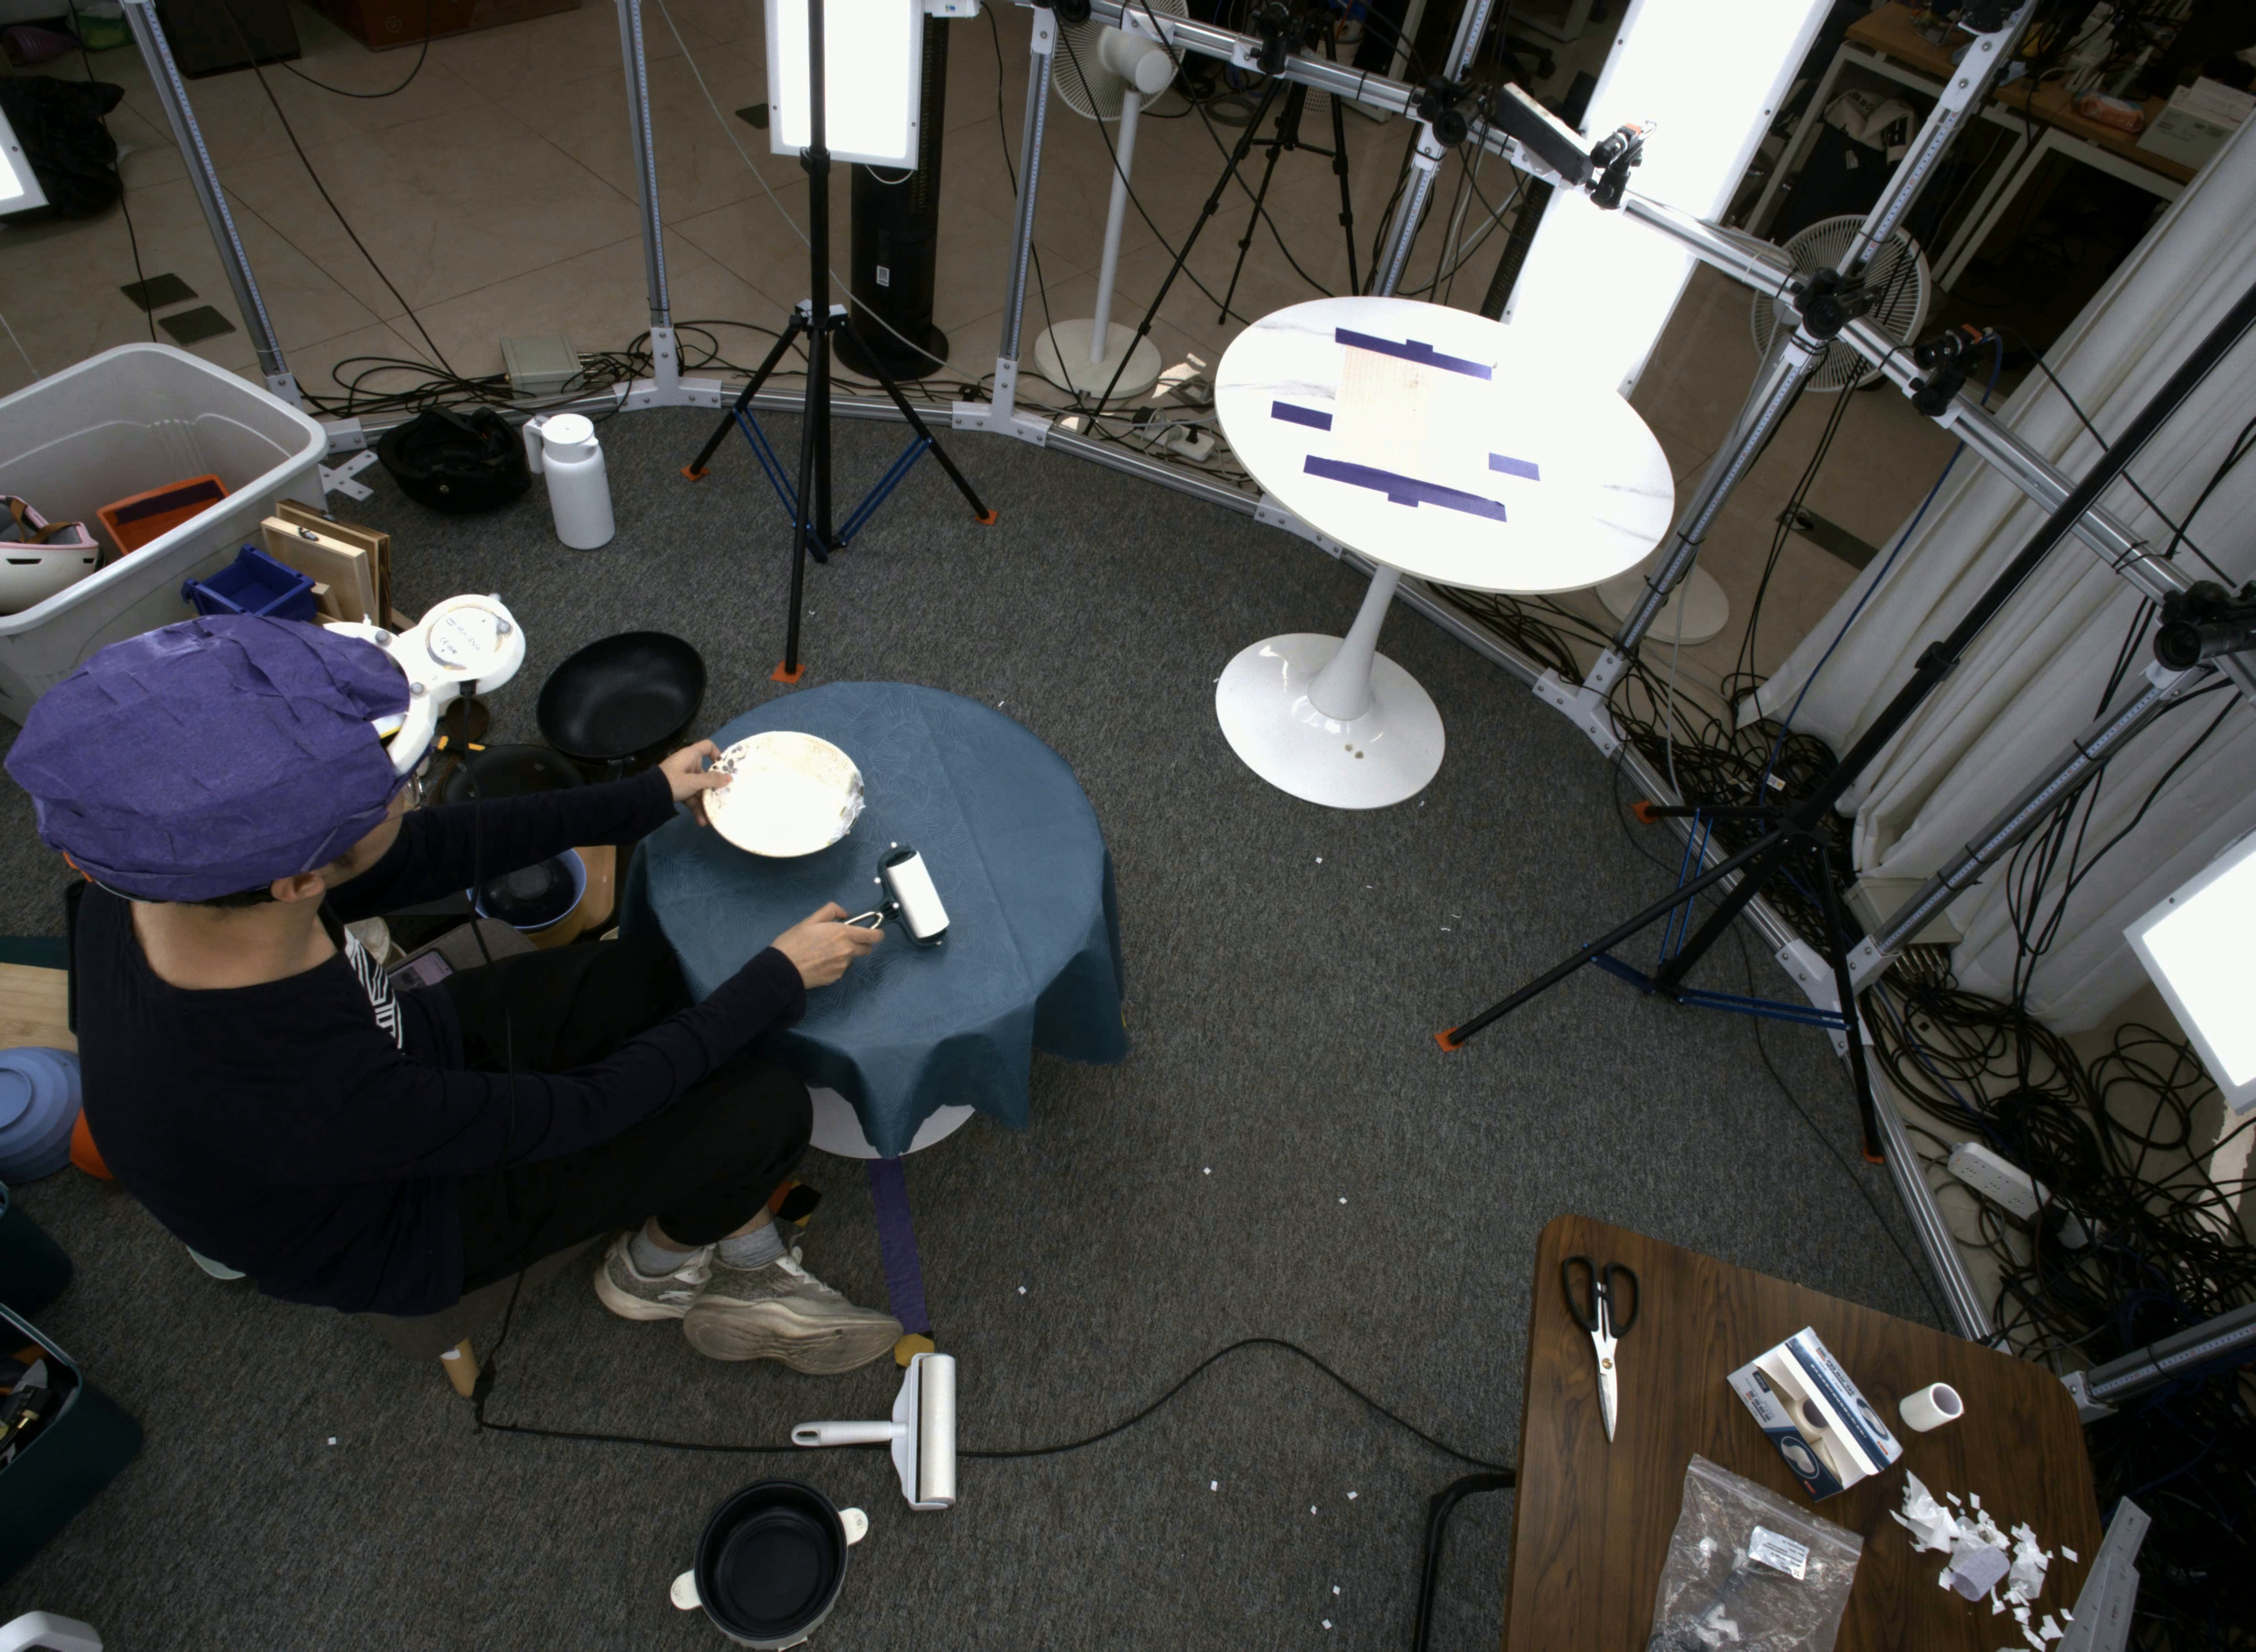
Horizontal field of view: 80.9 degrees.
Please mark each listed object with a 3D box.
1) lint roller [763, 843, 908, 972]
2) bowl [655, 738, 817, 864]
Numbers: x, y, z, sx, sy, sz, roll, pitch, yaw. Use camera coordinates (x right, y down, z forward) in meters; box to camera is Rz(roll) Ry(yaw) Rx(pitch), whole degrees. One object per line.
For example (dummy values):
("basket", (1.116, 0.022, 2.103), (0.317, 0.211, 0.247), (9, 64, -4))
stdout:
("lint roller", (-0.364, 0.121, 1.587), (0.180, 0.047, 0.138), (-36, 112, -33))
("bowl", (-0.505, -0.014, 1.673), (0.203, 0.079, 0.200), (8, 53, -8))
